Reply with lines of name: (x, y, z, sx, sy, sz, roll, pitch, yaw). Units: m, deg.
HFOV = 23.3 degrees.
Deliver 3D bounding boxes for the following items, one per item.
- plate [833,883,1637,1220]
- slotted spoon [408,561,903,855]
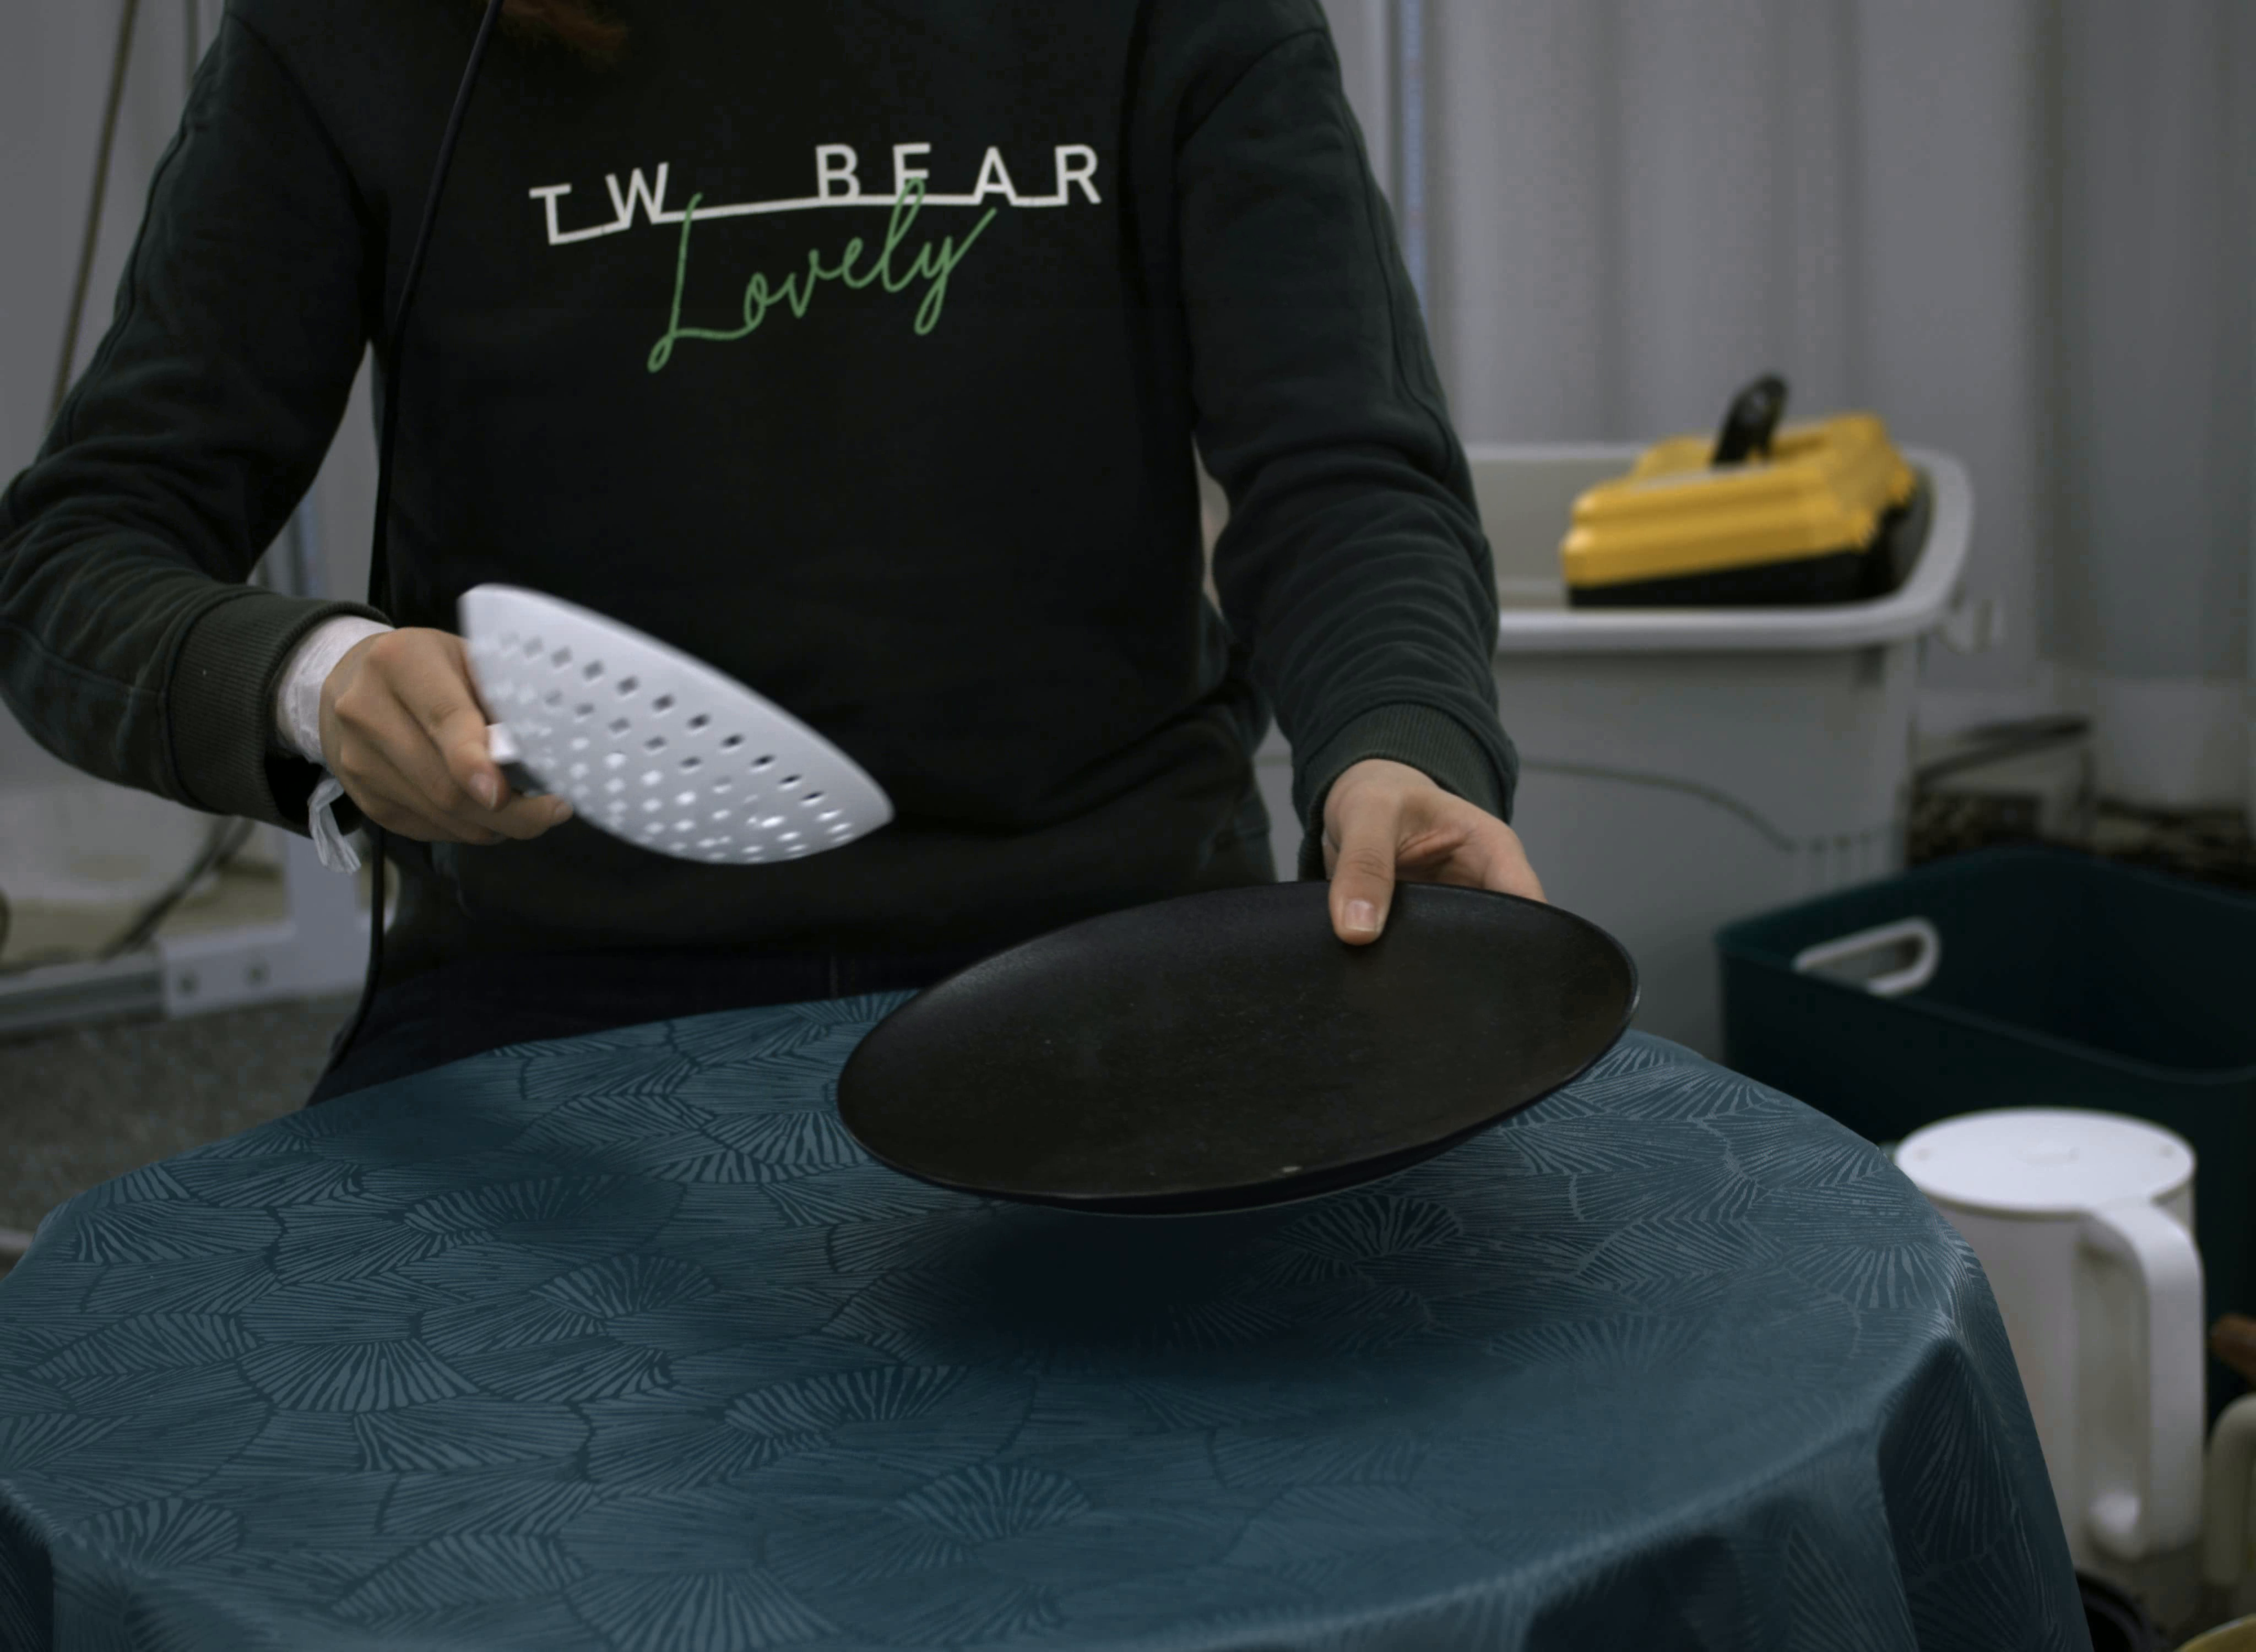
plate: (0.033, 0.070, 1.640, 0.243, 0.023, 0.246, -8, 19, 2)
slotted spoon: (-0.166, -0.025, 1.659, 0.135, 0.046, 0.350, 34, -10, -16)
